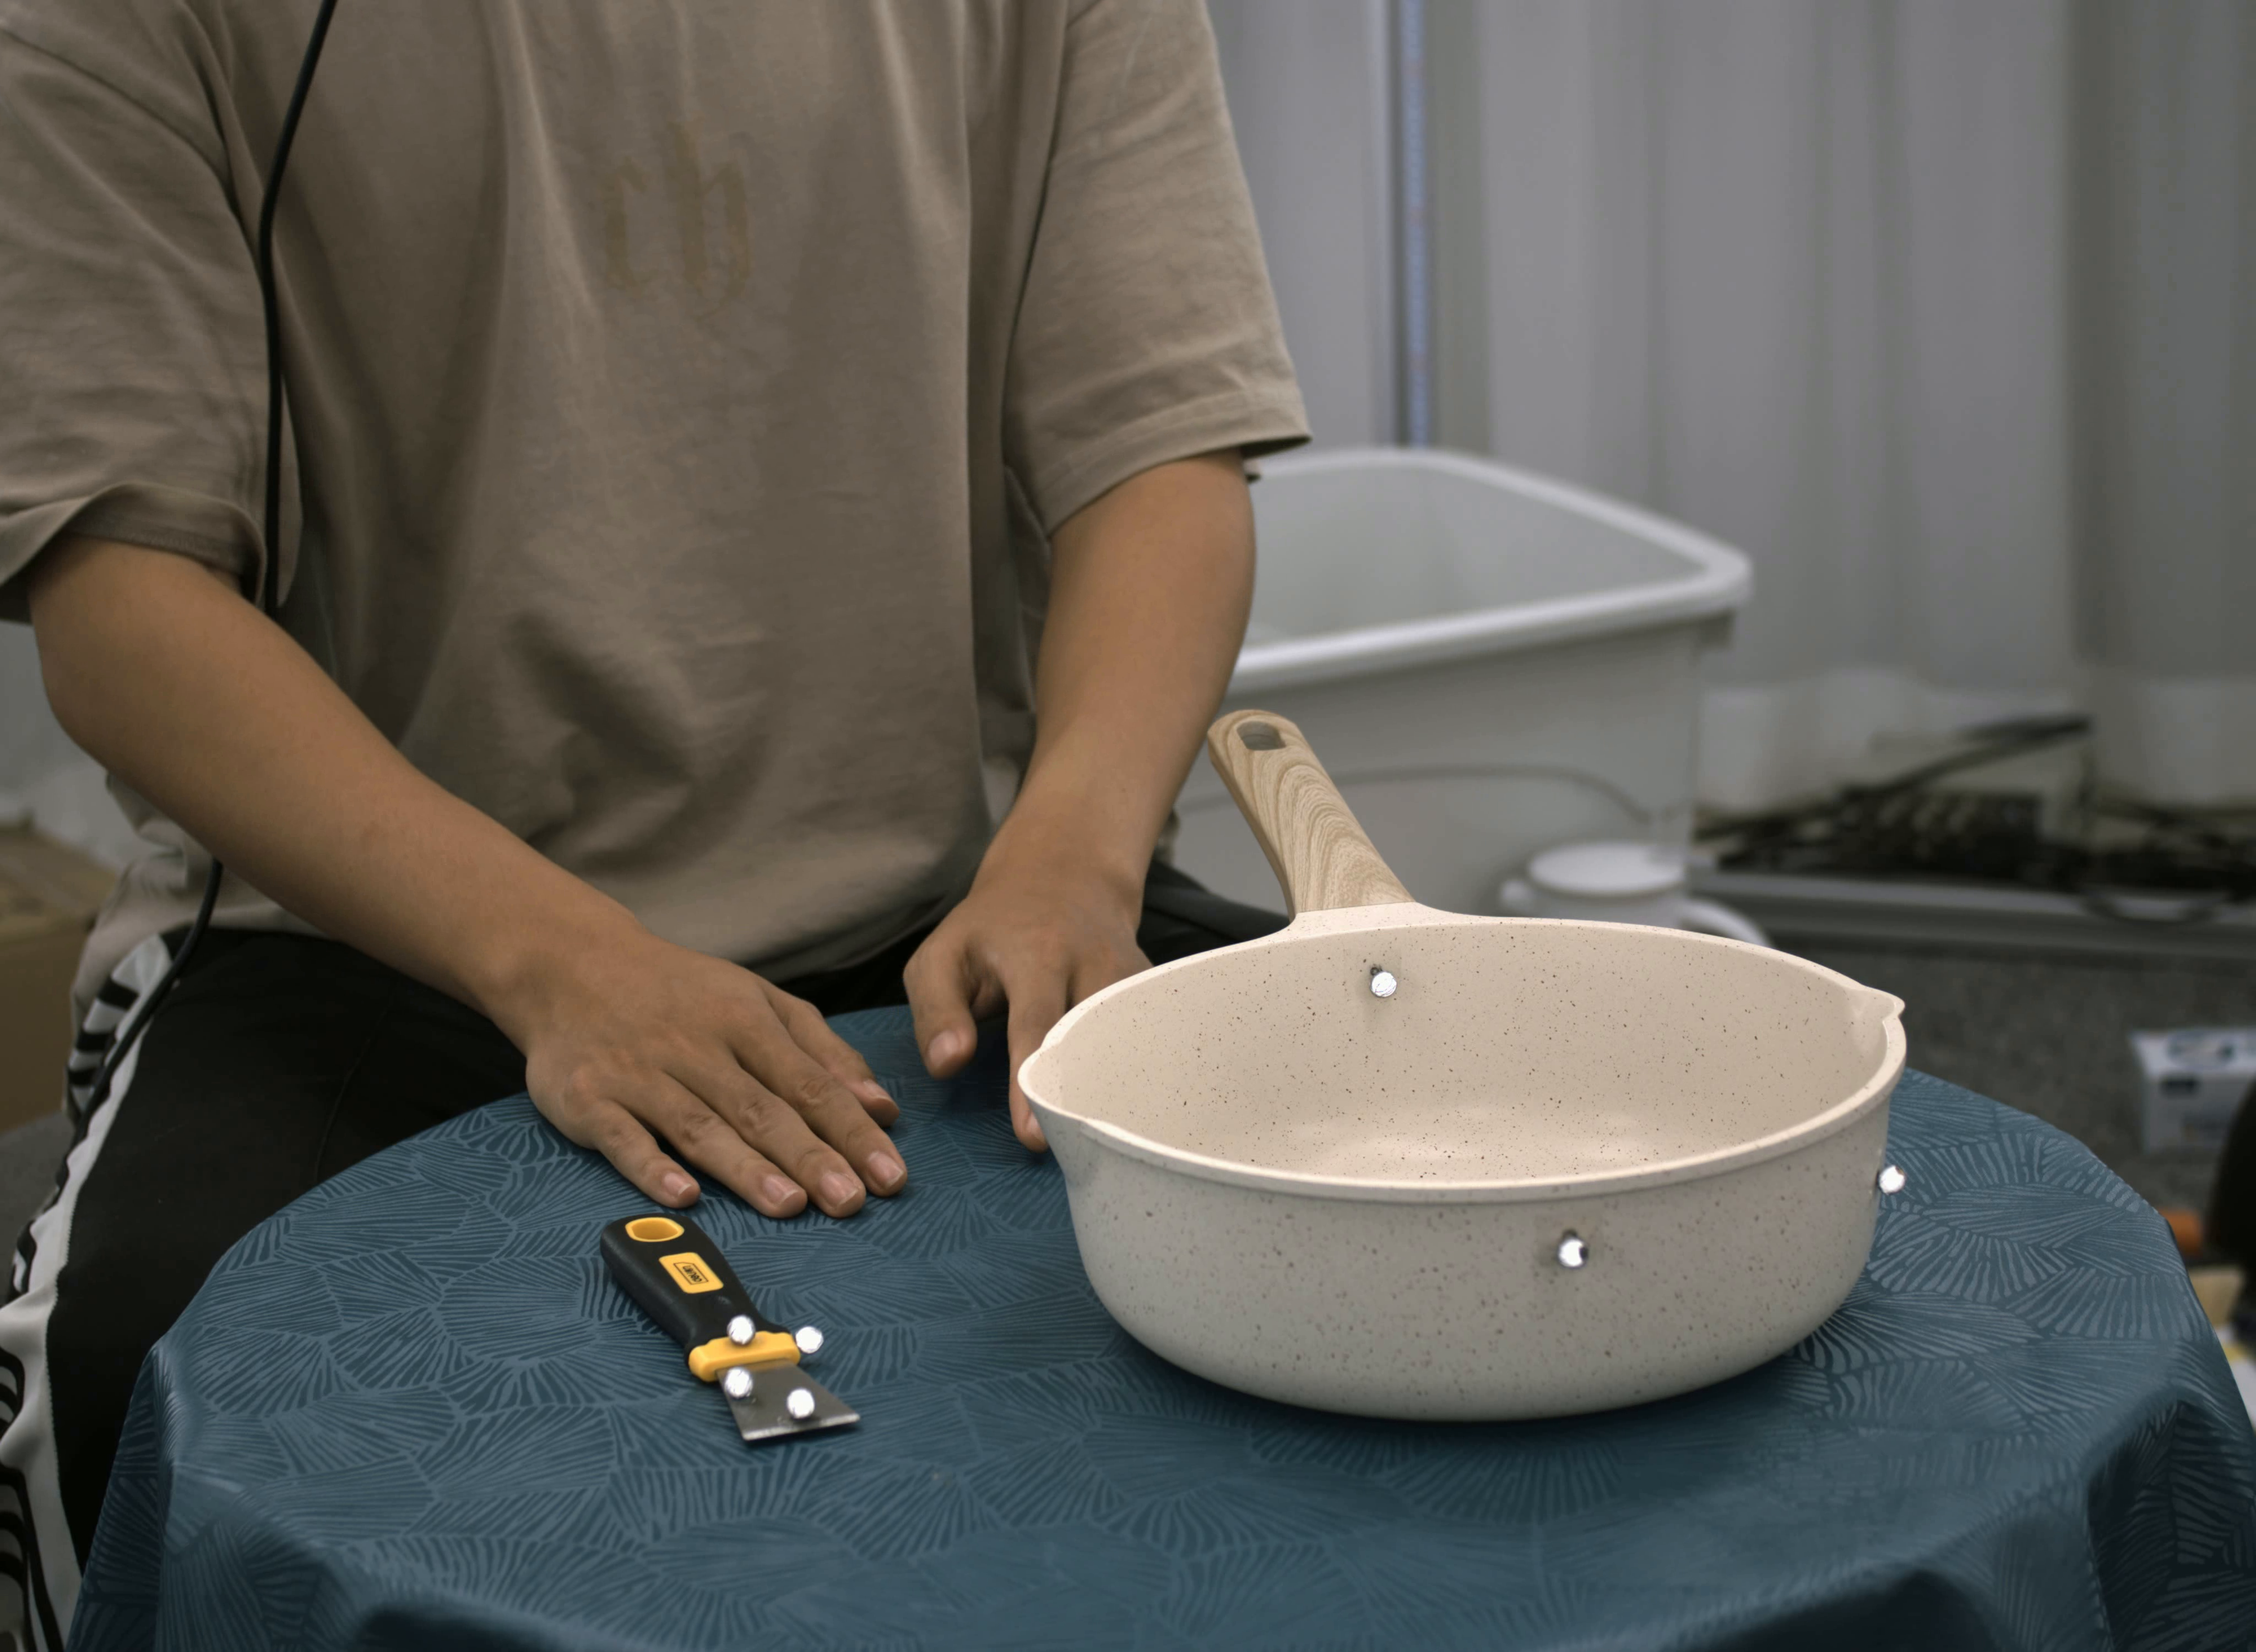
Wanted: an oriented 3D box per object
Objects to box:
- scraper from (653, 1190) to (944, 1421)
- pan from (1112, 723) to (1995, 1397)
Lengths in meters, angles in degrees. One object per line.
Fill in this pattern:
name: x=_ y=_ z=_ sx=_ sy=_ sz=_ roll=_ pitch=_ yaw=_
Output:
scraper: x=-0.101 y=0.139 z=1.594 sx=0.039 sy=0.015 sz=0.172 roll=-16 pitch=21 yaw=-19
pan: x=0.109 y=0.066 z=1.681 sx=0.262 sy=0.101 sz=0.438 roll=-8 pitch=15 yaw=-9
